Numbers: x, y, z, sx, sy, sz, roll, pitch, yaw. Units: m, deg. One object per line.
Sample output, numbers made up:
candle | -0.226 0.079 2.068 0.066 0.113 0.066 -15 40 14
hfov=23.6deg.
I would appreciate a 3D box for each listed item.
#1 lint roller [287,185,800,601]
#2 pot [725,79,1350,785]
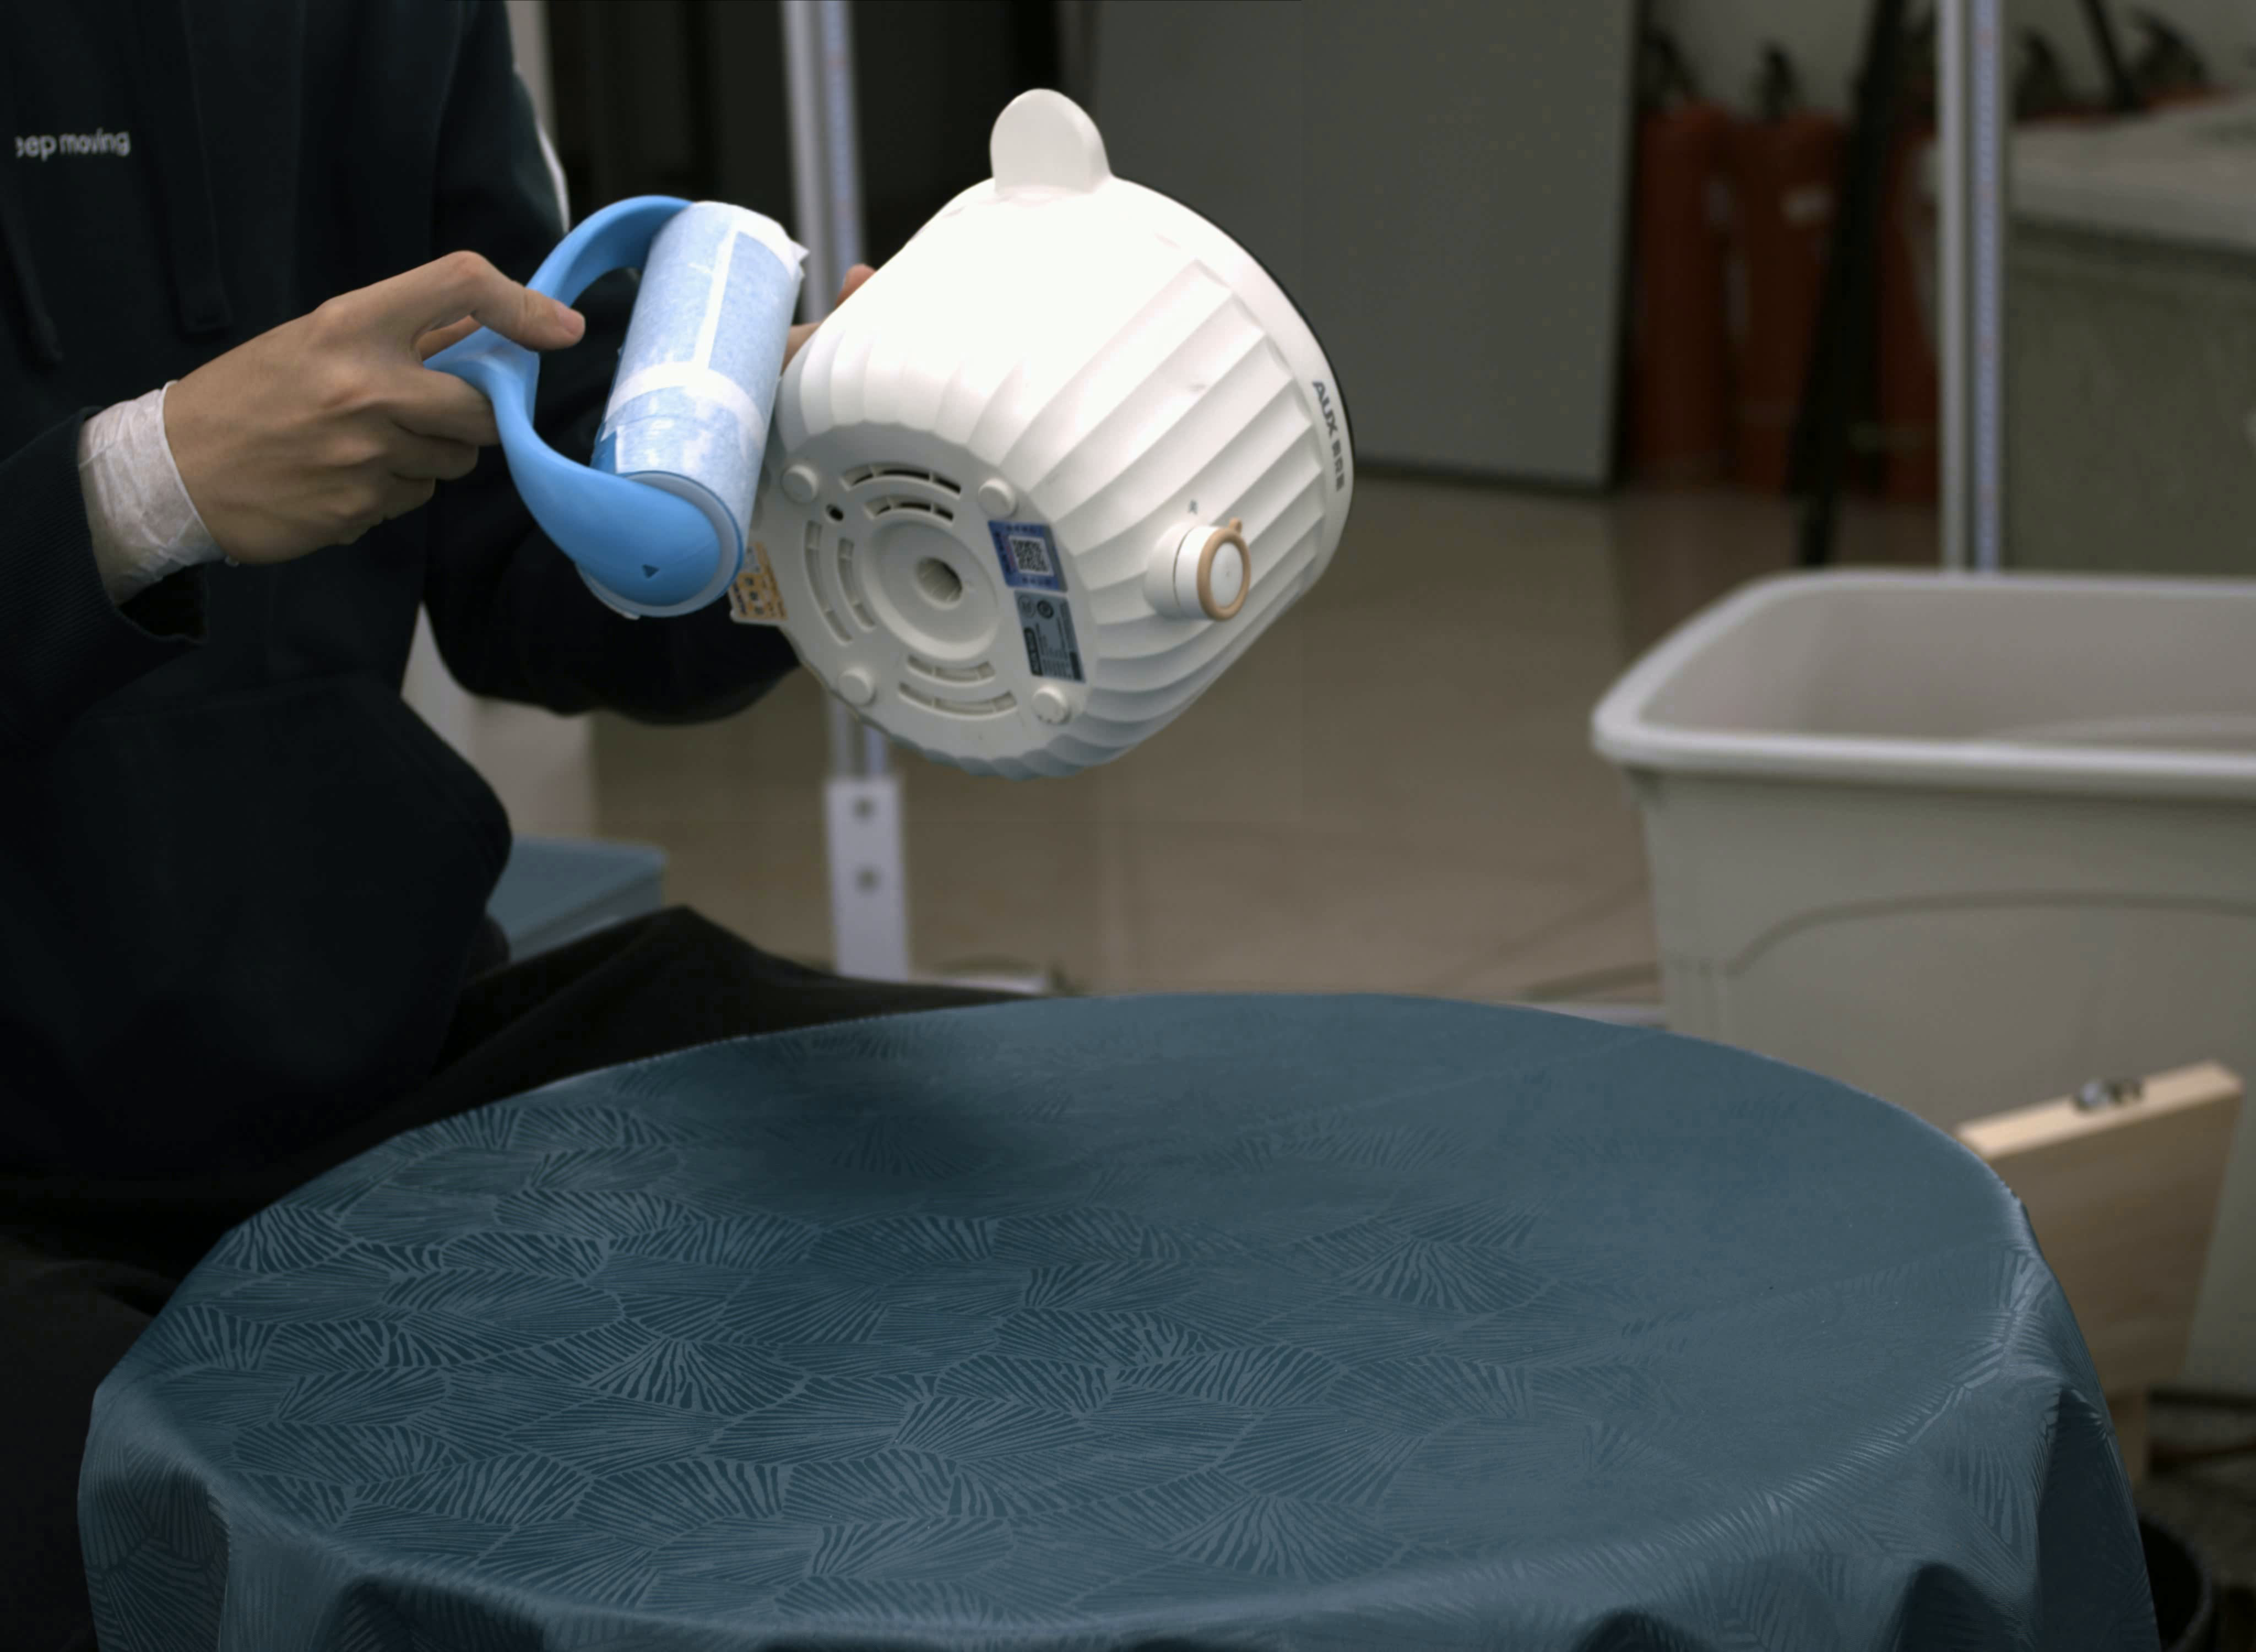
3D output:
lint roller | -0.195 -0.131 1.762 0.178 0.068 0.230 -12 32 5
pot | -0.029 -0.109 1.806 0.191 0.241 0.141 5 35 30
